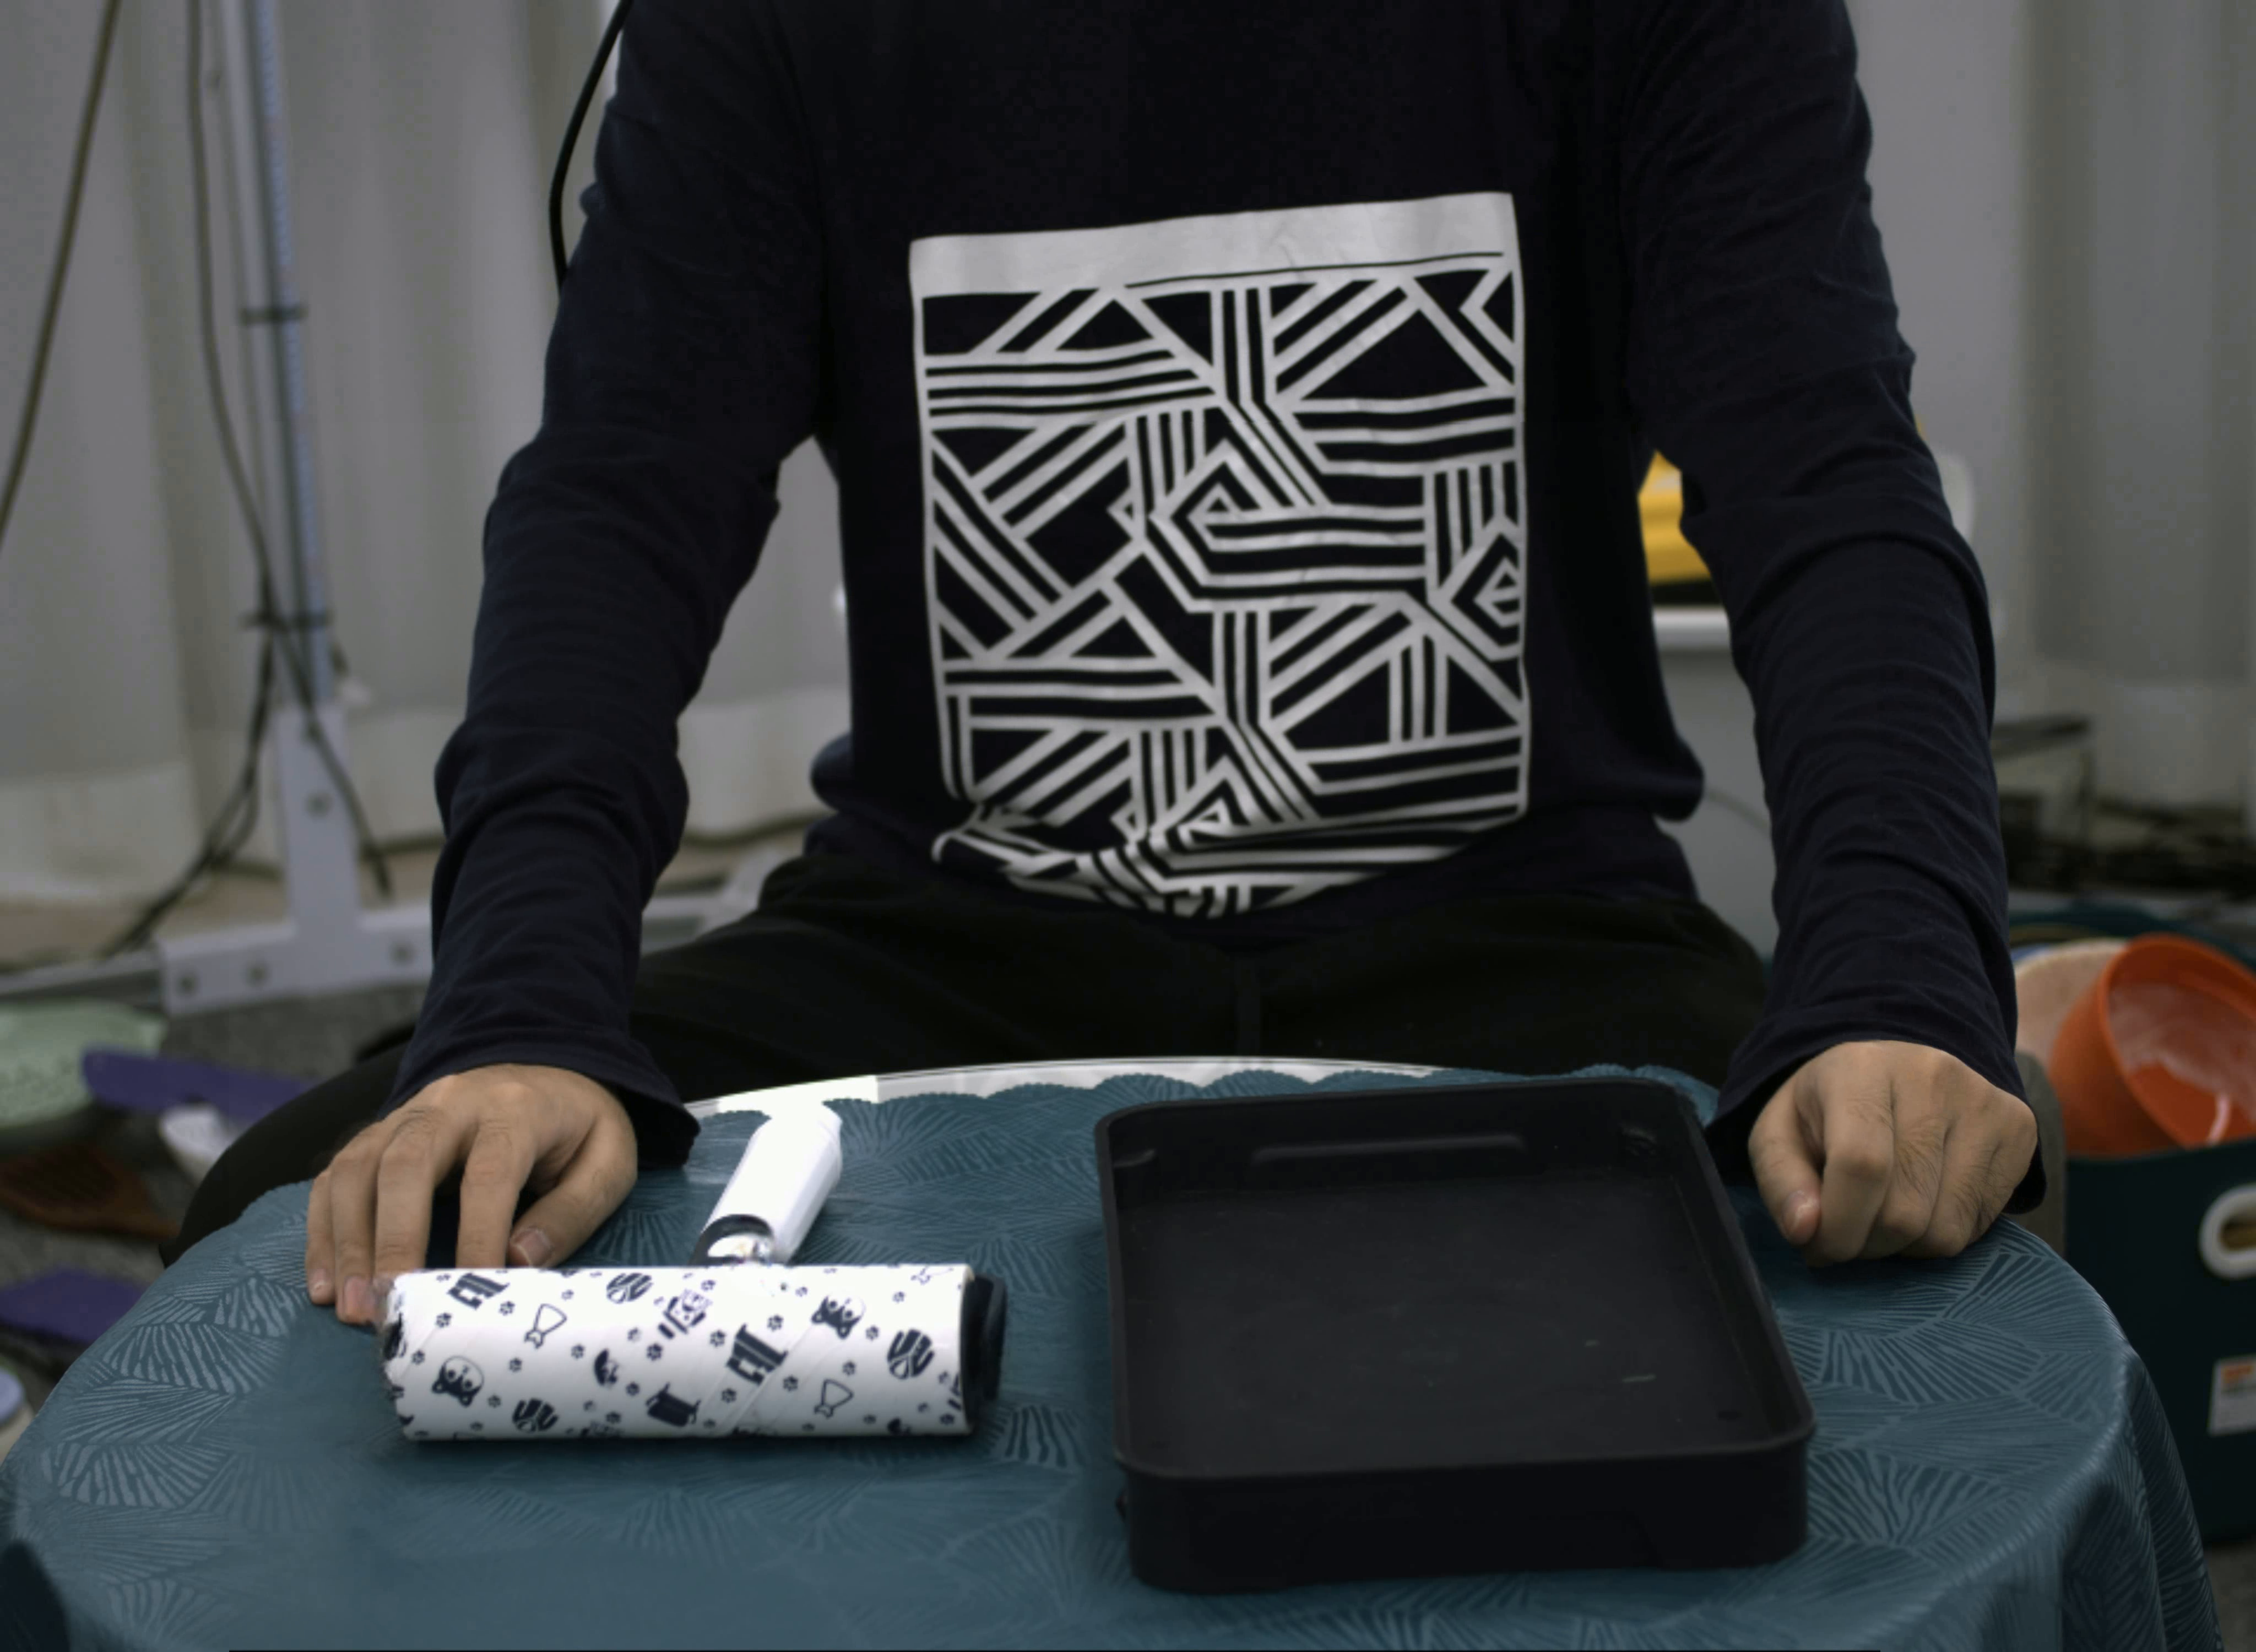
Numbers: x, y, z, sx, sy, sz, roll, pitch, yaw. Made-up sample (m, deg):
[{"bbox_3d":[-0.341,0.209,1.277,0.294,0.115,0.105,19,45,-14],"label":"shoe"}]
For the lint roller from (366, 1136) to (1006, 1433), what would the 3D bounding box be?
[{"bbox_3d":[-0.115,0.125,1.624,0.176,0.050,0.248,-2,12,5],"label":"lint roller"}]

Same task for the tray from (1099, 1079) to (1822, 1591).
[{"bbox_3d":[0.086,0.138,1.545,0.183,0.037,0.320,-3,14,0],"label":"tray"}]
